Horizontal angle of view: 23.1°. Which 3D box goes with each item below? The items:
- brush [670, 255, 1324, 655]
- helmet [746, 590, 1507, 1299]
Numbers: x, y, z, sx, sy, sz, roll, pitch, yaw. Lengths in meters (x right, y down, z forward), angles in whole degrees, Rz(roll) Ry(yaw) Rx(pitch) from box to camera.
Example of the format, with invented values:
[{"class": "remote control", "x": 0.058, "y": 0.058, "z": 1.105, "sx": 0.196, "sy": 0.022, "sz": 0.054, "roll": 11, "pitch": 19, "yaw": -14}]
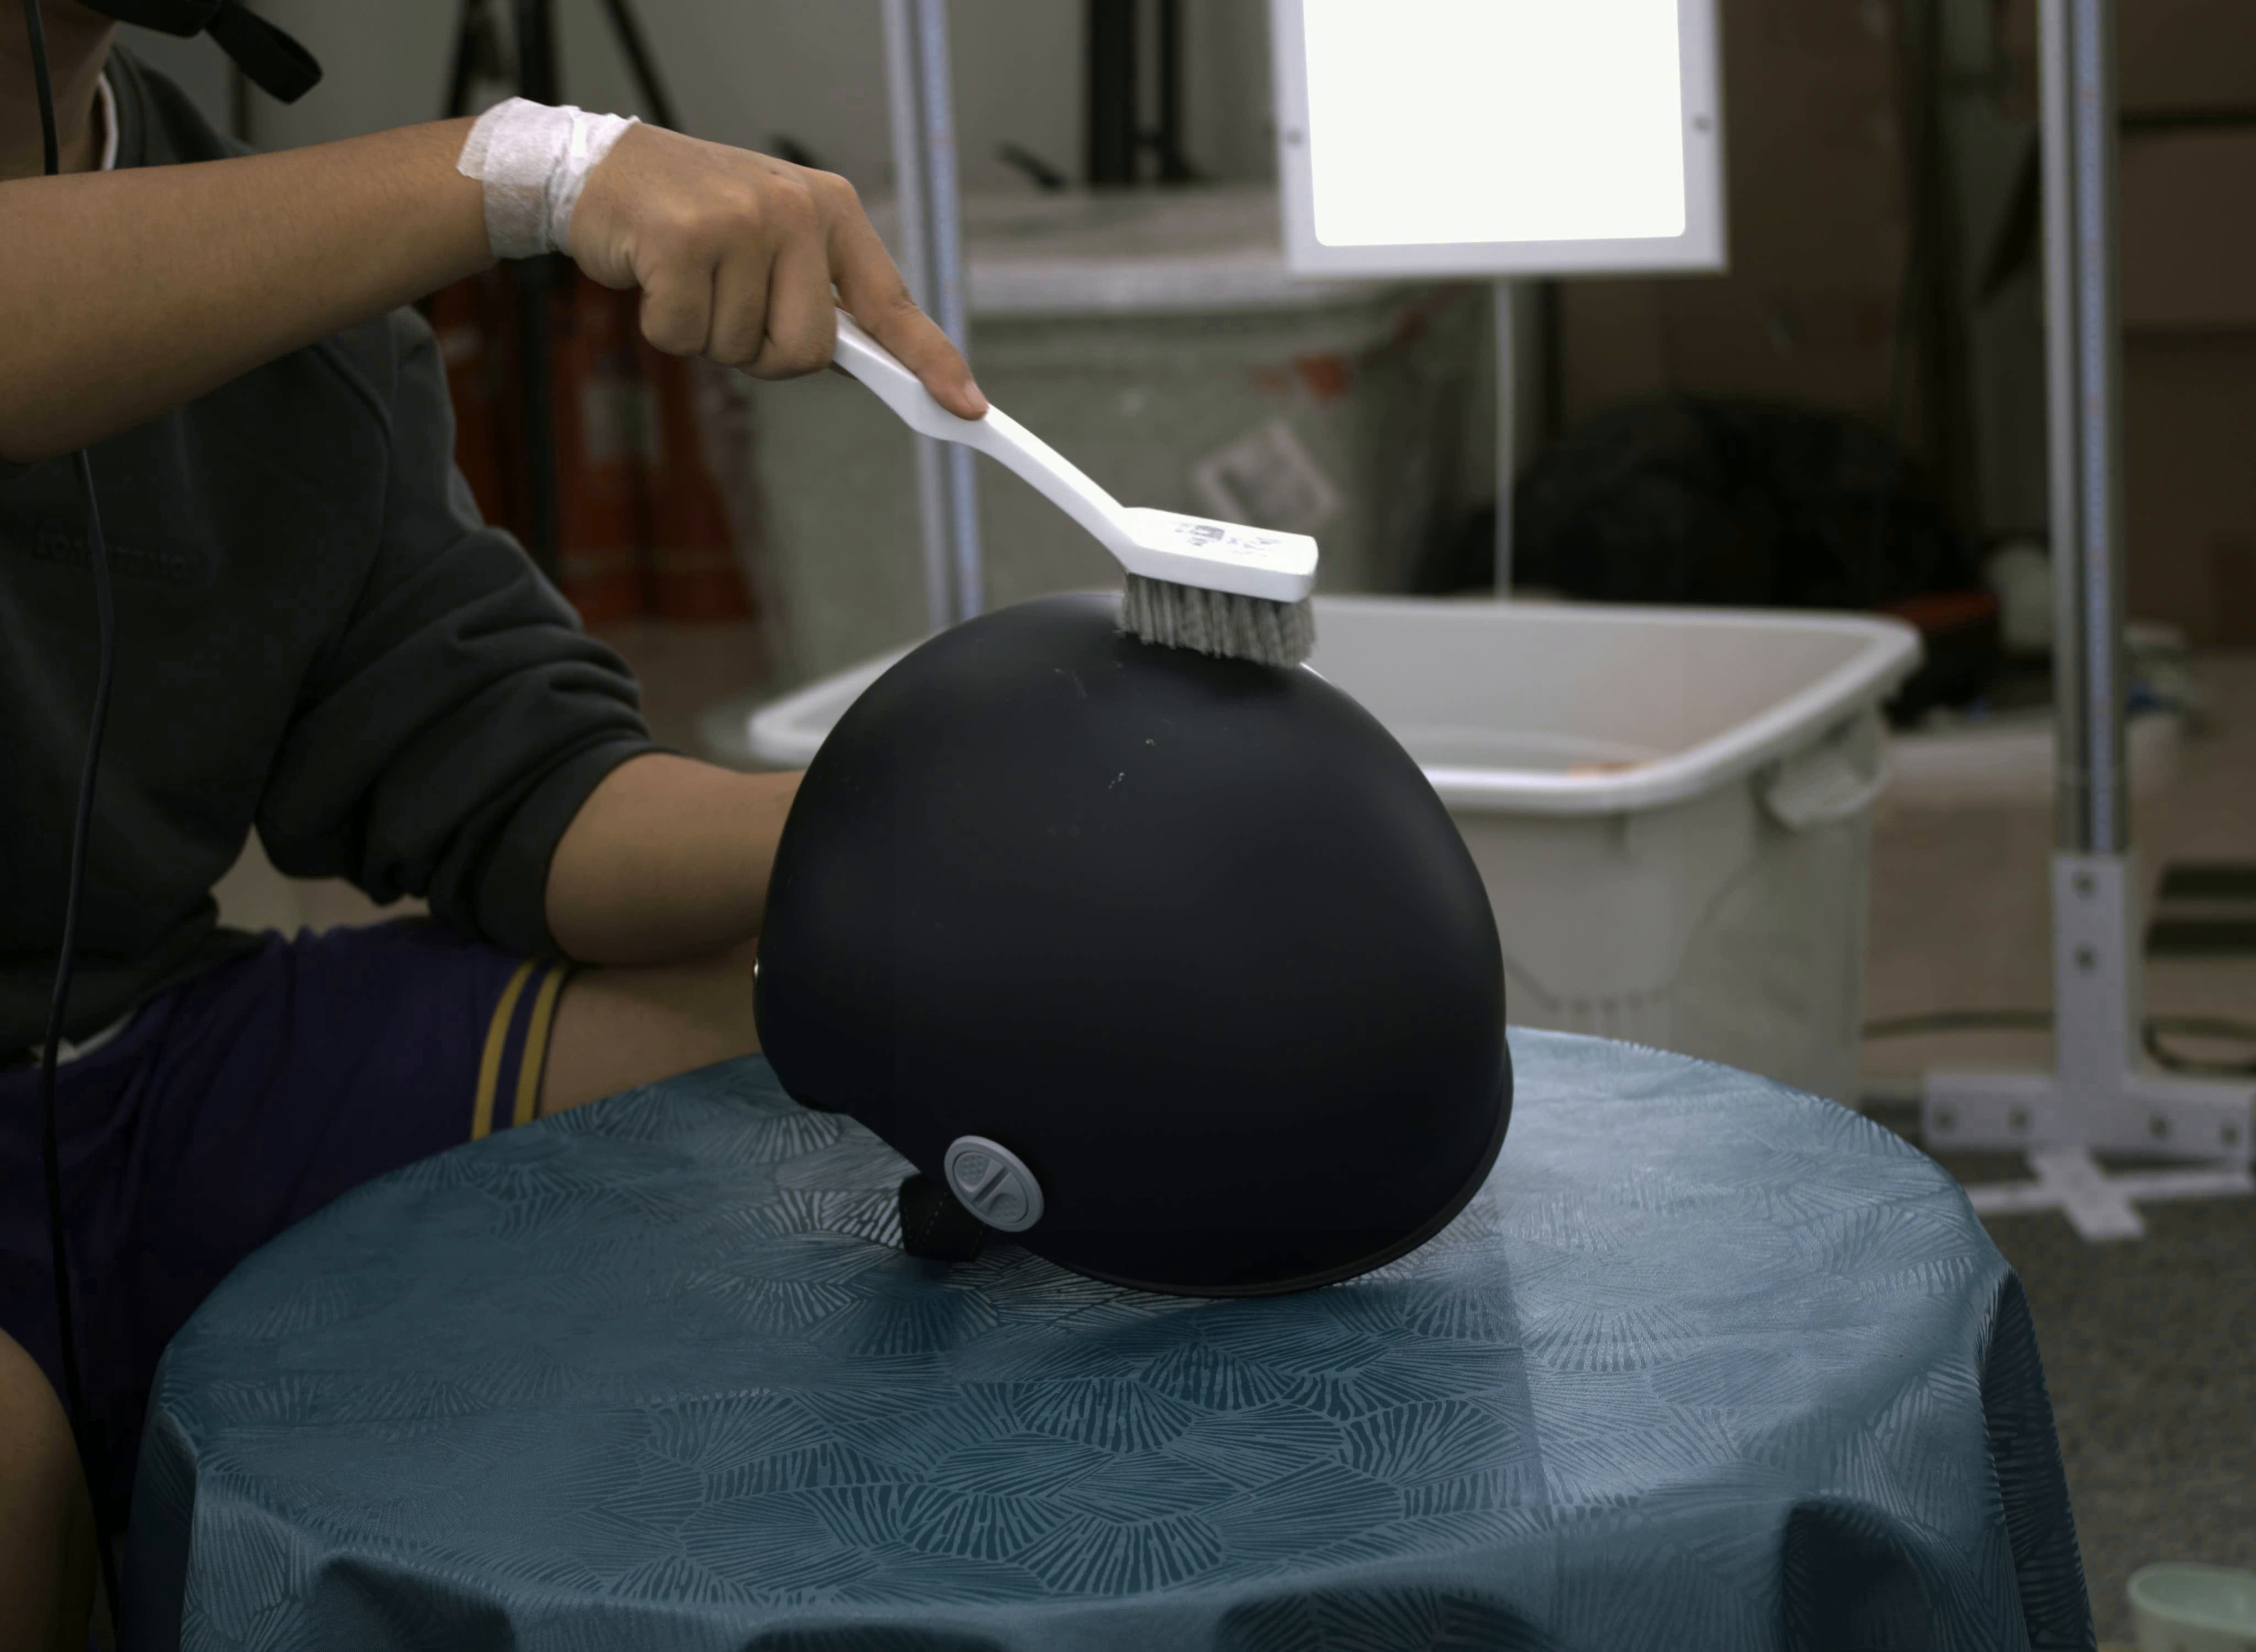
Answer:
[{"class": "brush", "x": -0.045, "y": -0.117, "z": 1.800, "sx": 0.243, "sy": 0.051, "sz": 0.034, "roll": 24, "pitch": 27, "yaw": 0}, {"class": "helmet", "x": 0.000, "y": 0.020, "z": 1.825, "sx": 0.225, "sy": 0.167, "sz": 0.277, "roll": -33, "pitch": 48, "yaw": -30}]
